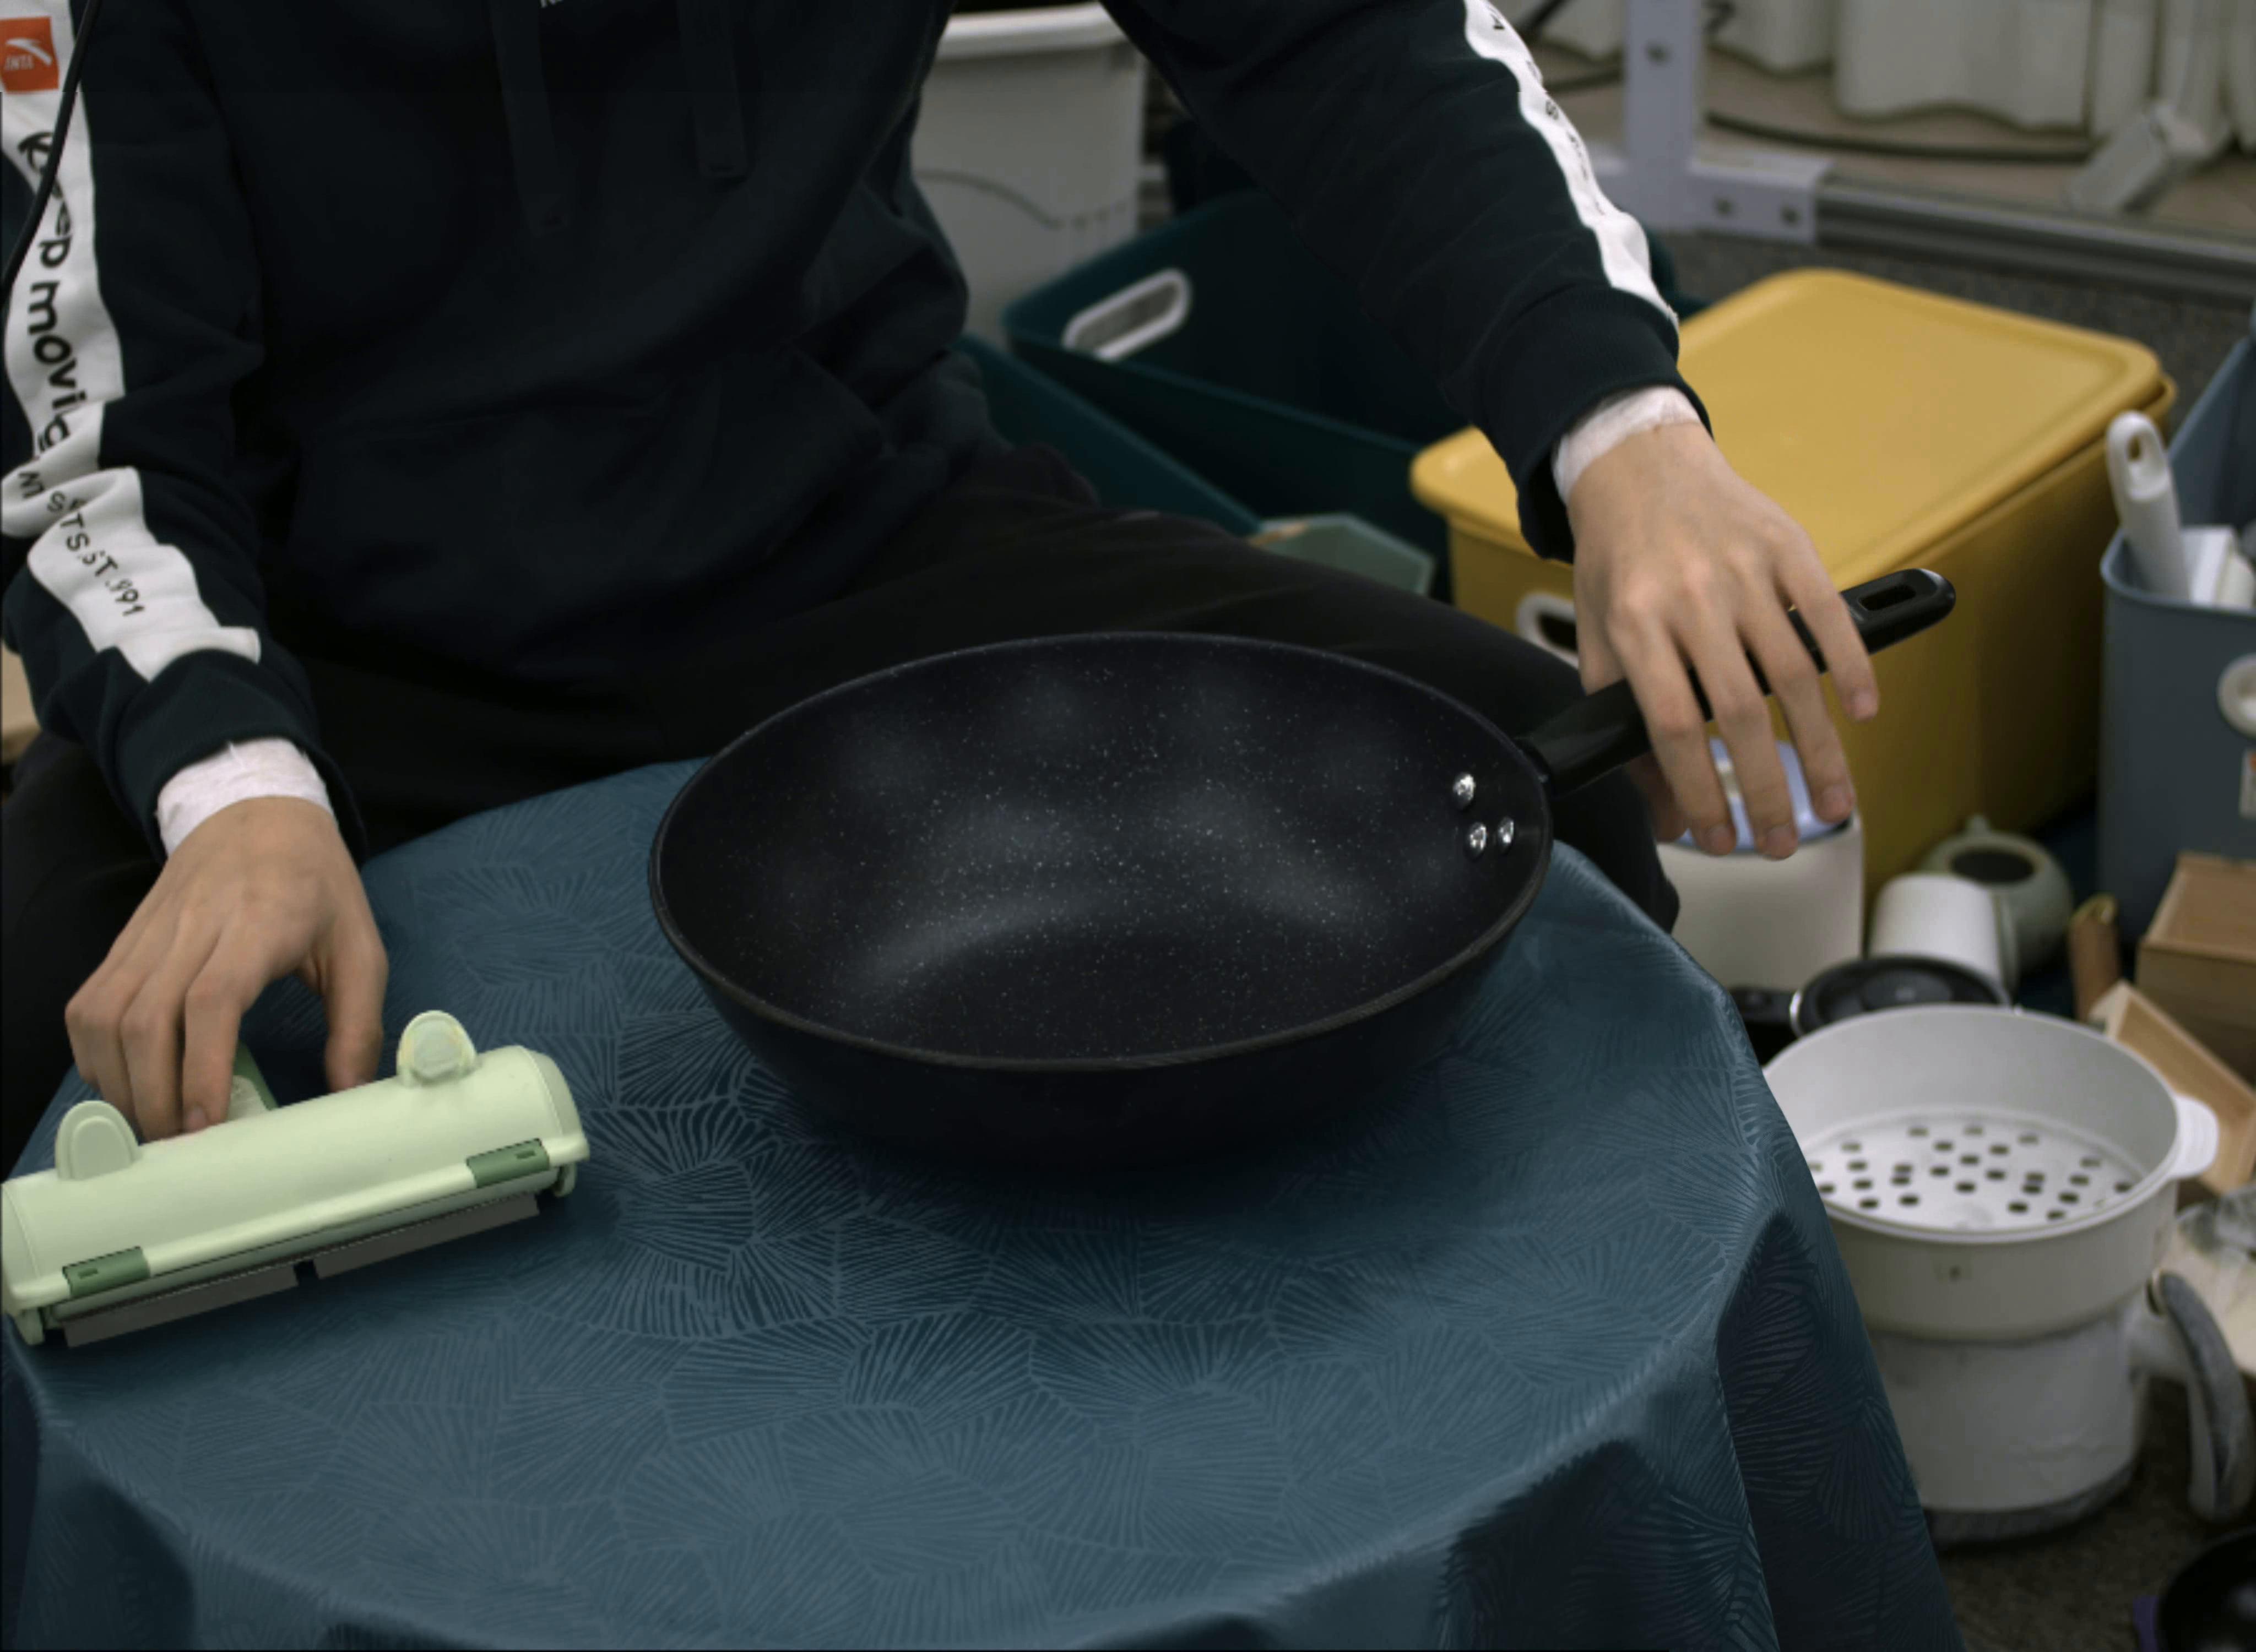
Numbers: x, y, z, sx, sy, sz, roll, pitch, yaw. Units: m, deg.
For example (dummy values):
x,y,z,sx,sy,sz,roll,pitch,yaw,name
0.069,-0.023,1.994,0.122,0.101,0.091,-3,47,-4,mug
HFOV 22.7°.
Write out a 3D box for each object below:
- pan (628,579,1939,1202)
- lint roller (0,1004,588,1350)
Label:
x,y,z,sx,sy,sz,roll,pitch,yaw,name
0.064,0.015,1.945,0.478,0.110,0.313,-13,30,-17,pan
-0.300,0.088,1.873,0.199,0.081,0.185,-15,35,-21,lint roller
